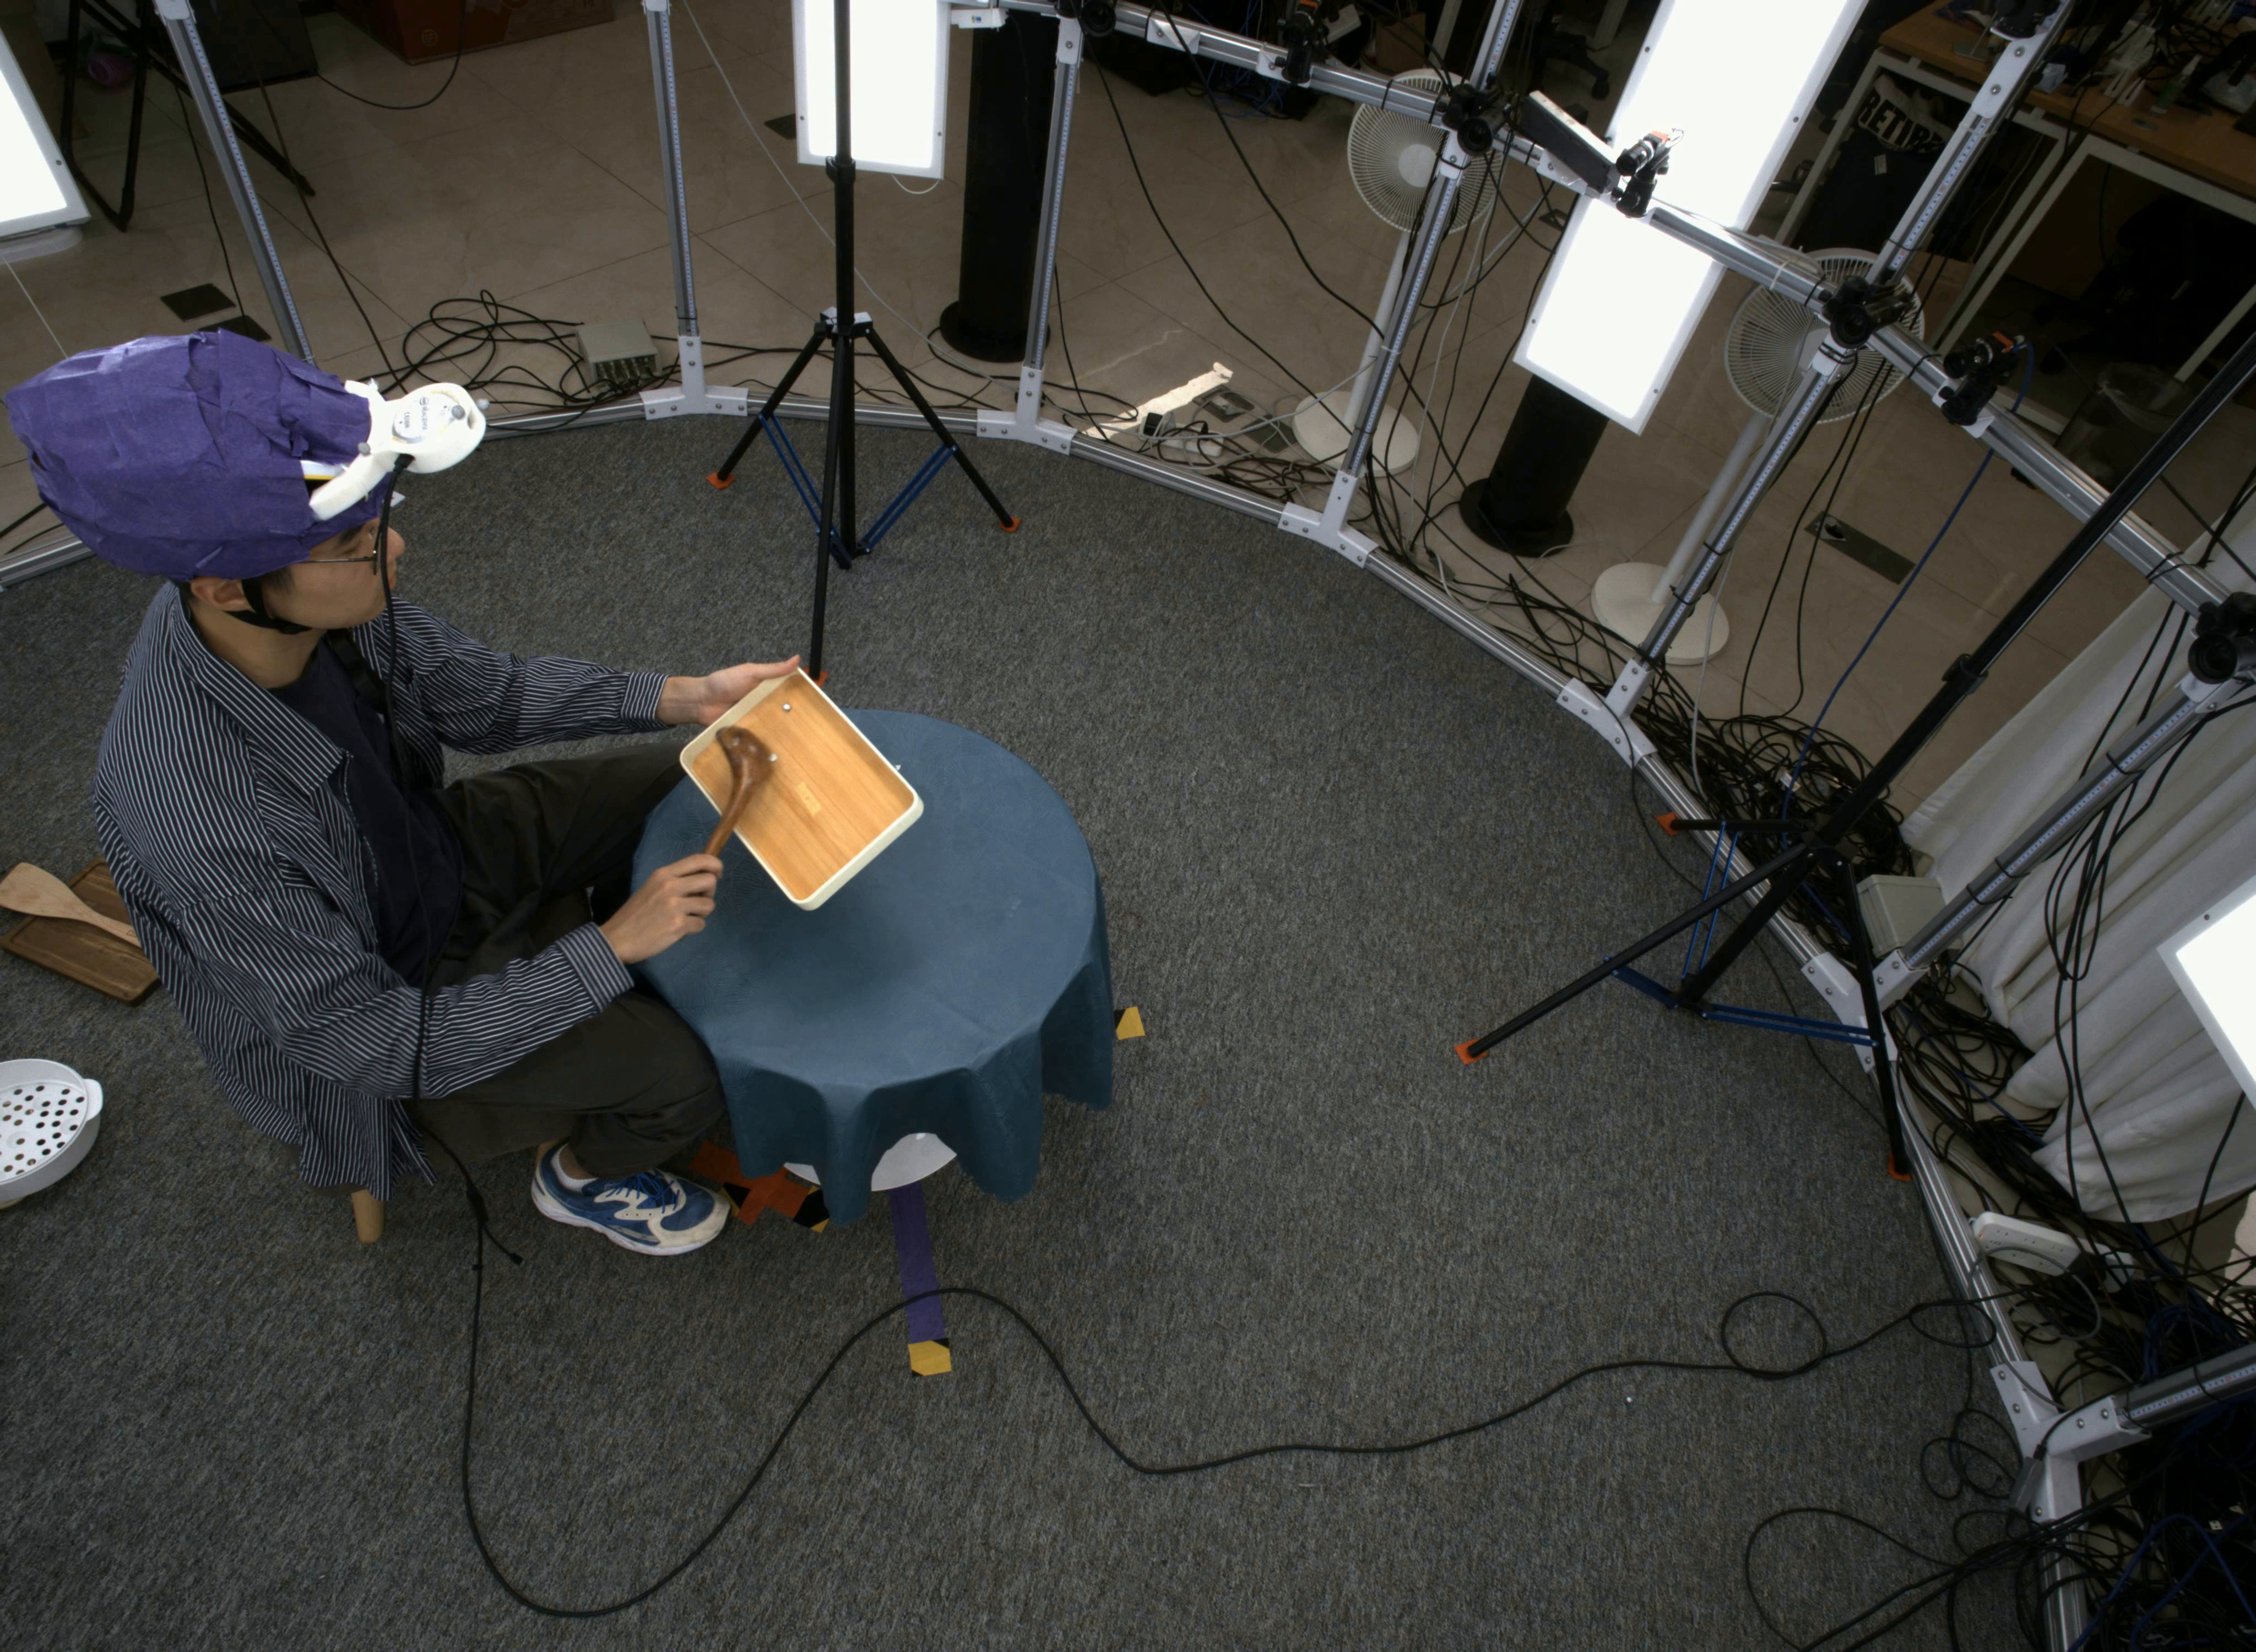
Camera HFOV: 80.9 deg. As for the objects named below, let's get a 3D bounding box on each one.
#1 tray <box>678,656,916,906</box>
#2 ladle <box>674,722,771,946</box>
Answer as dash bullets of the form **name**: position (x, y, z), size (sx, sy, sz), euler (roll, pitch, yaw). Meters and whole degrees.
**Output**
- **tray**: position (-0.406, -0.061, 1.570), size (0.191, 0.028, 0.291), euler (-42, 64, -7)
- **ladle**: position (-0.496, 0.004, 1.524), size (0.074, 0.085, 0.274), euler (5, 69, 38)
